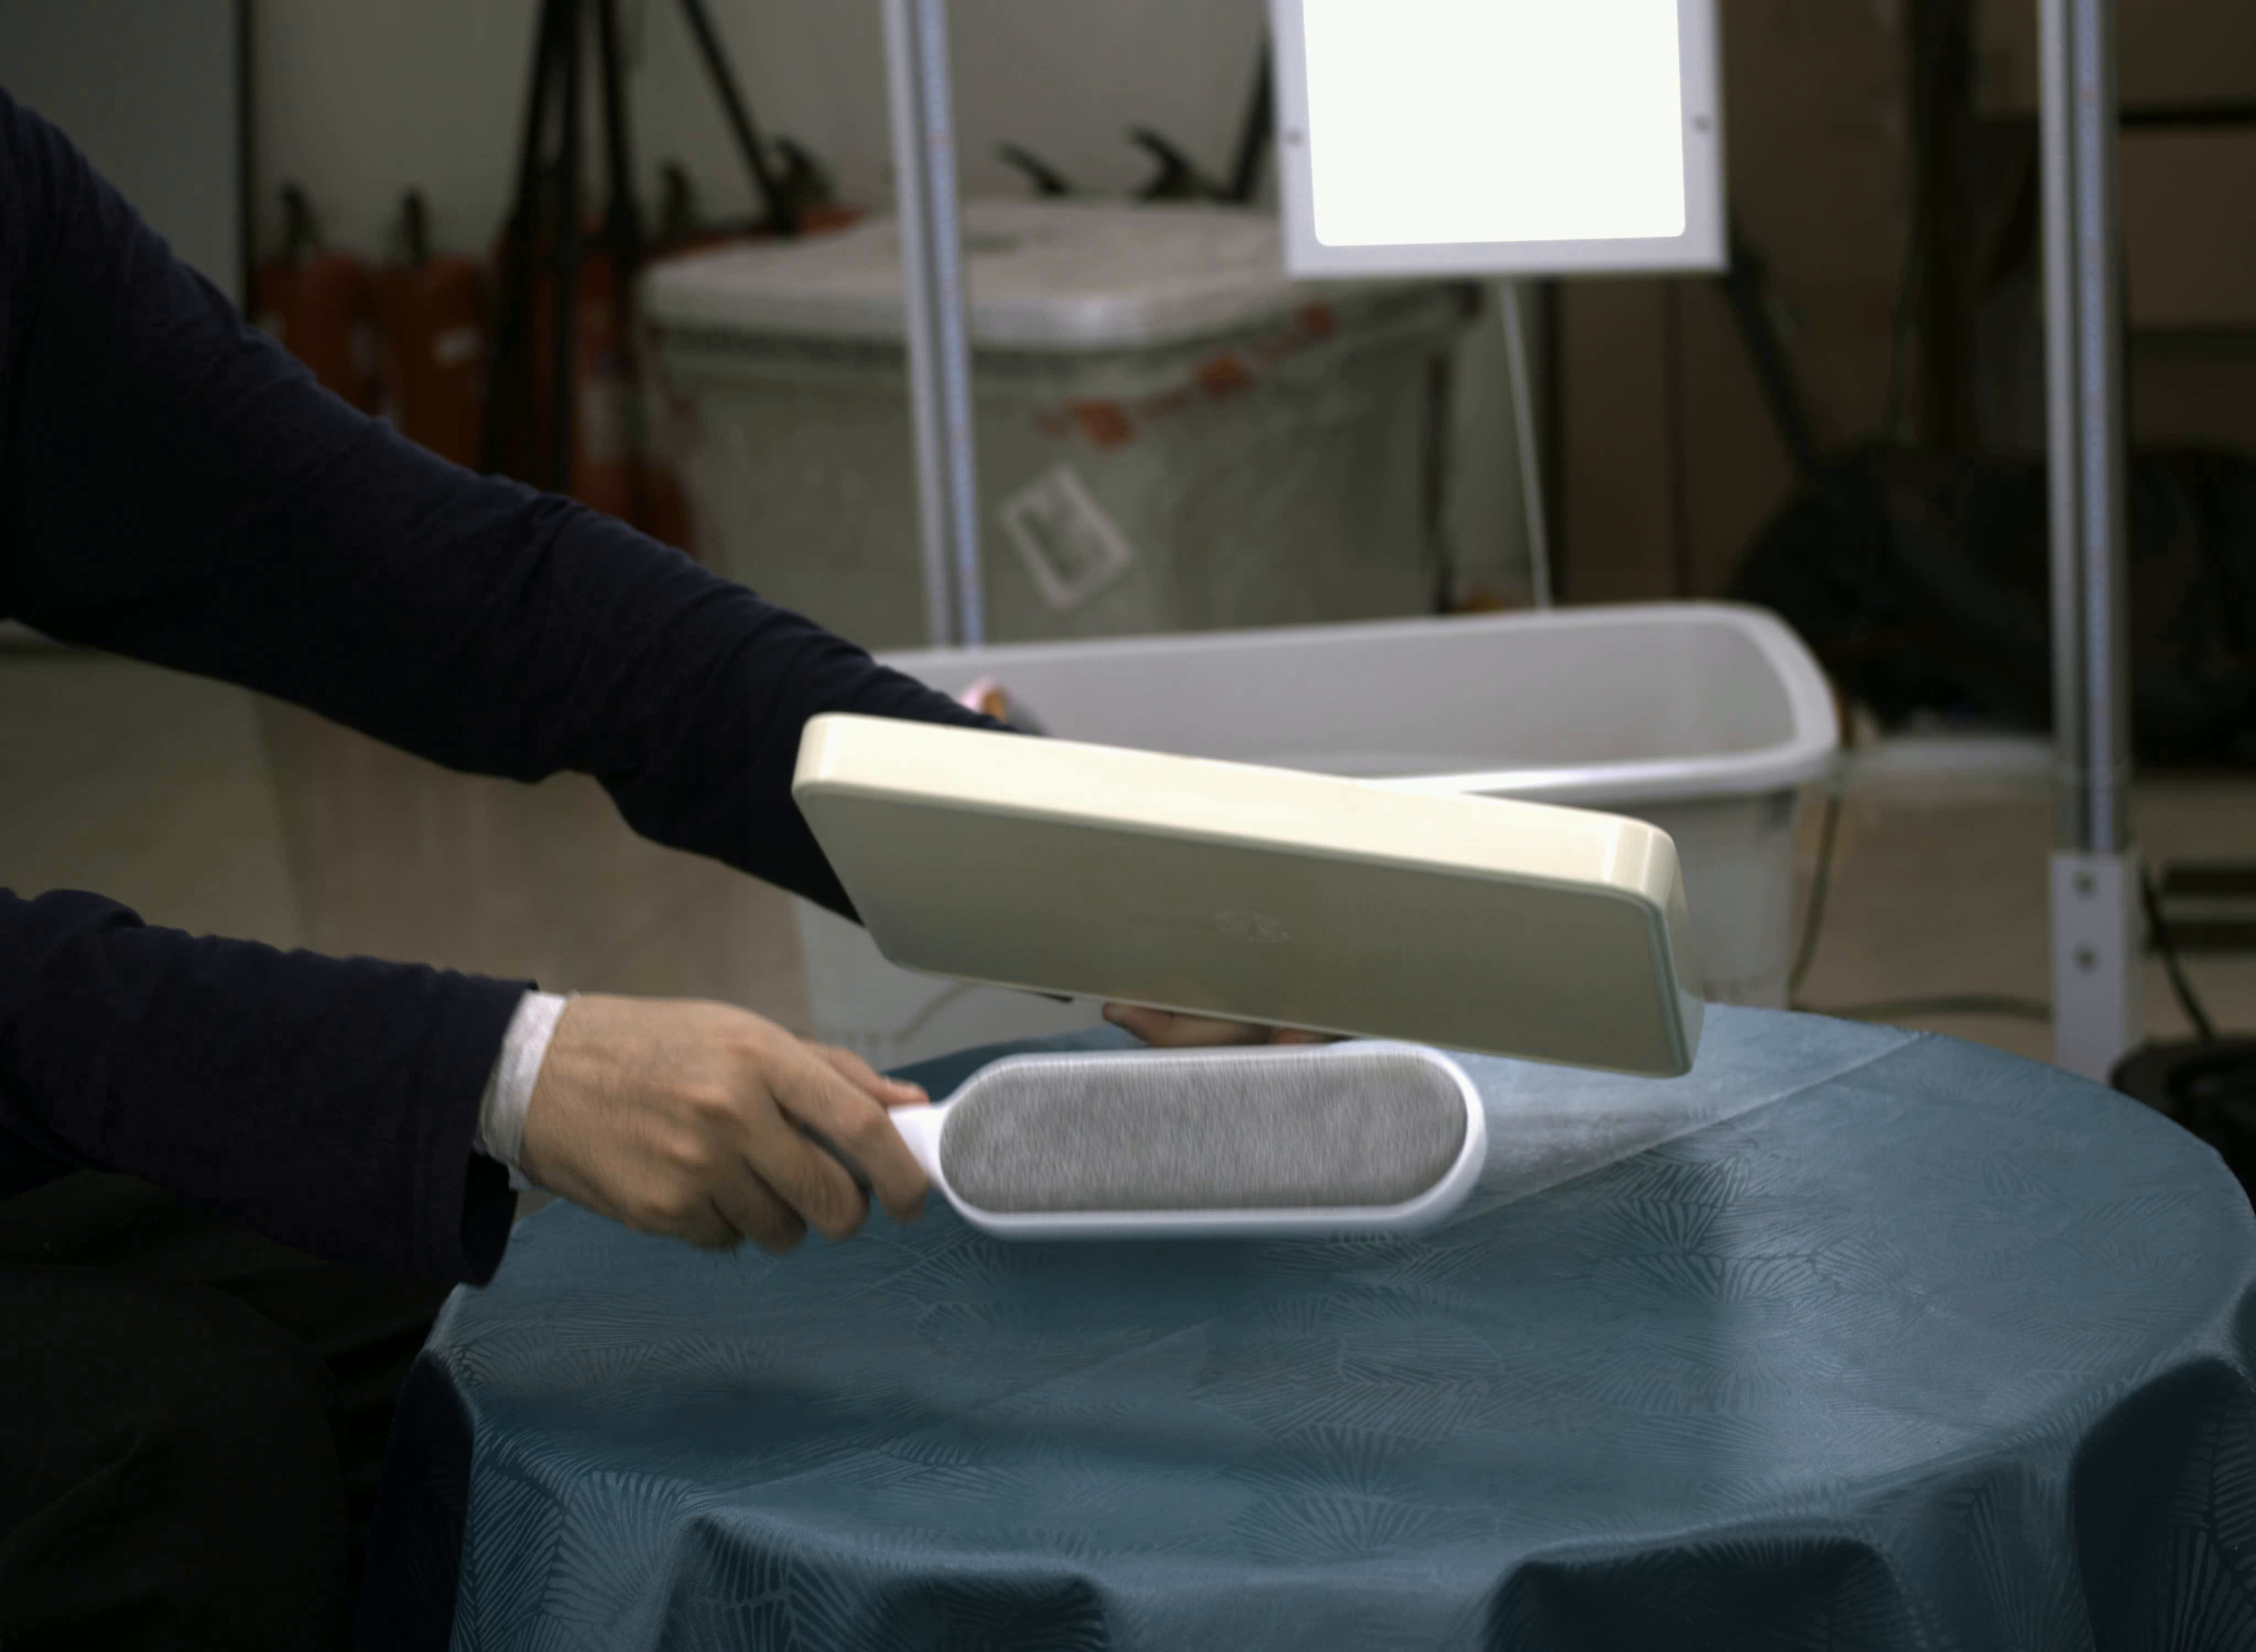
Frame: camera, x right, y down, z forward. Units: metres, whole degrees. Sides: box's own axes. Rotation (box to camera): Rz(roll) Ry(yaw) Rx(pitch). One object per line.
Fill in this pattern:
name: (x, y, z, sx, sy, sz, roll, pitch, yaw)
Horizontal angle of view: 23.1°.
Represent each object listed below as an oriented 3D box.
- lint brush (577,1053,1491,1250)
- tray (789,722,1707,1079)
lint brush: (-0.034, 0.101, 1.694, 0.314, 0.060, 0.020, -3, -21, 27)
tray: (0.044, 0.028, 1.888, 0.303, 0.027, 0.190, 7, -21, 15)
